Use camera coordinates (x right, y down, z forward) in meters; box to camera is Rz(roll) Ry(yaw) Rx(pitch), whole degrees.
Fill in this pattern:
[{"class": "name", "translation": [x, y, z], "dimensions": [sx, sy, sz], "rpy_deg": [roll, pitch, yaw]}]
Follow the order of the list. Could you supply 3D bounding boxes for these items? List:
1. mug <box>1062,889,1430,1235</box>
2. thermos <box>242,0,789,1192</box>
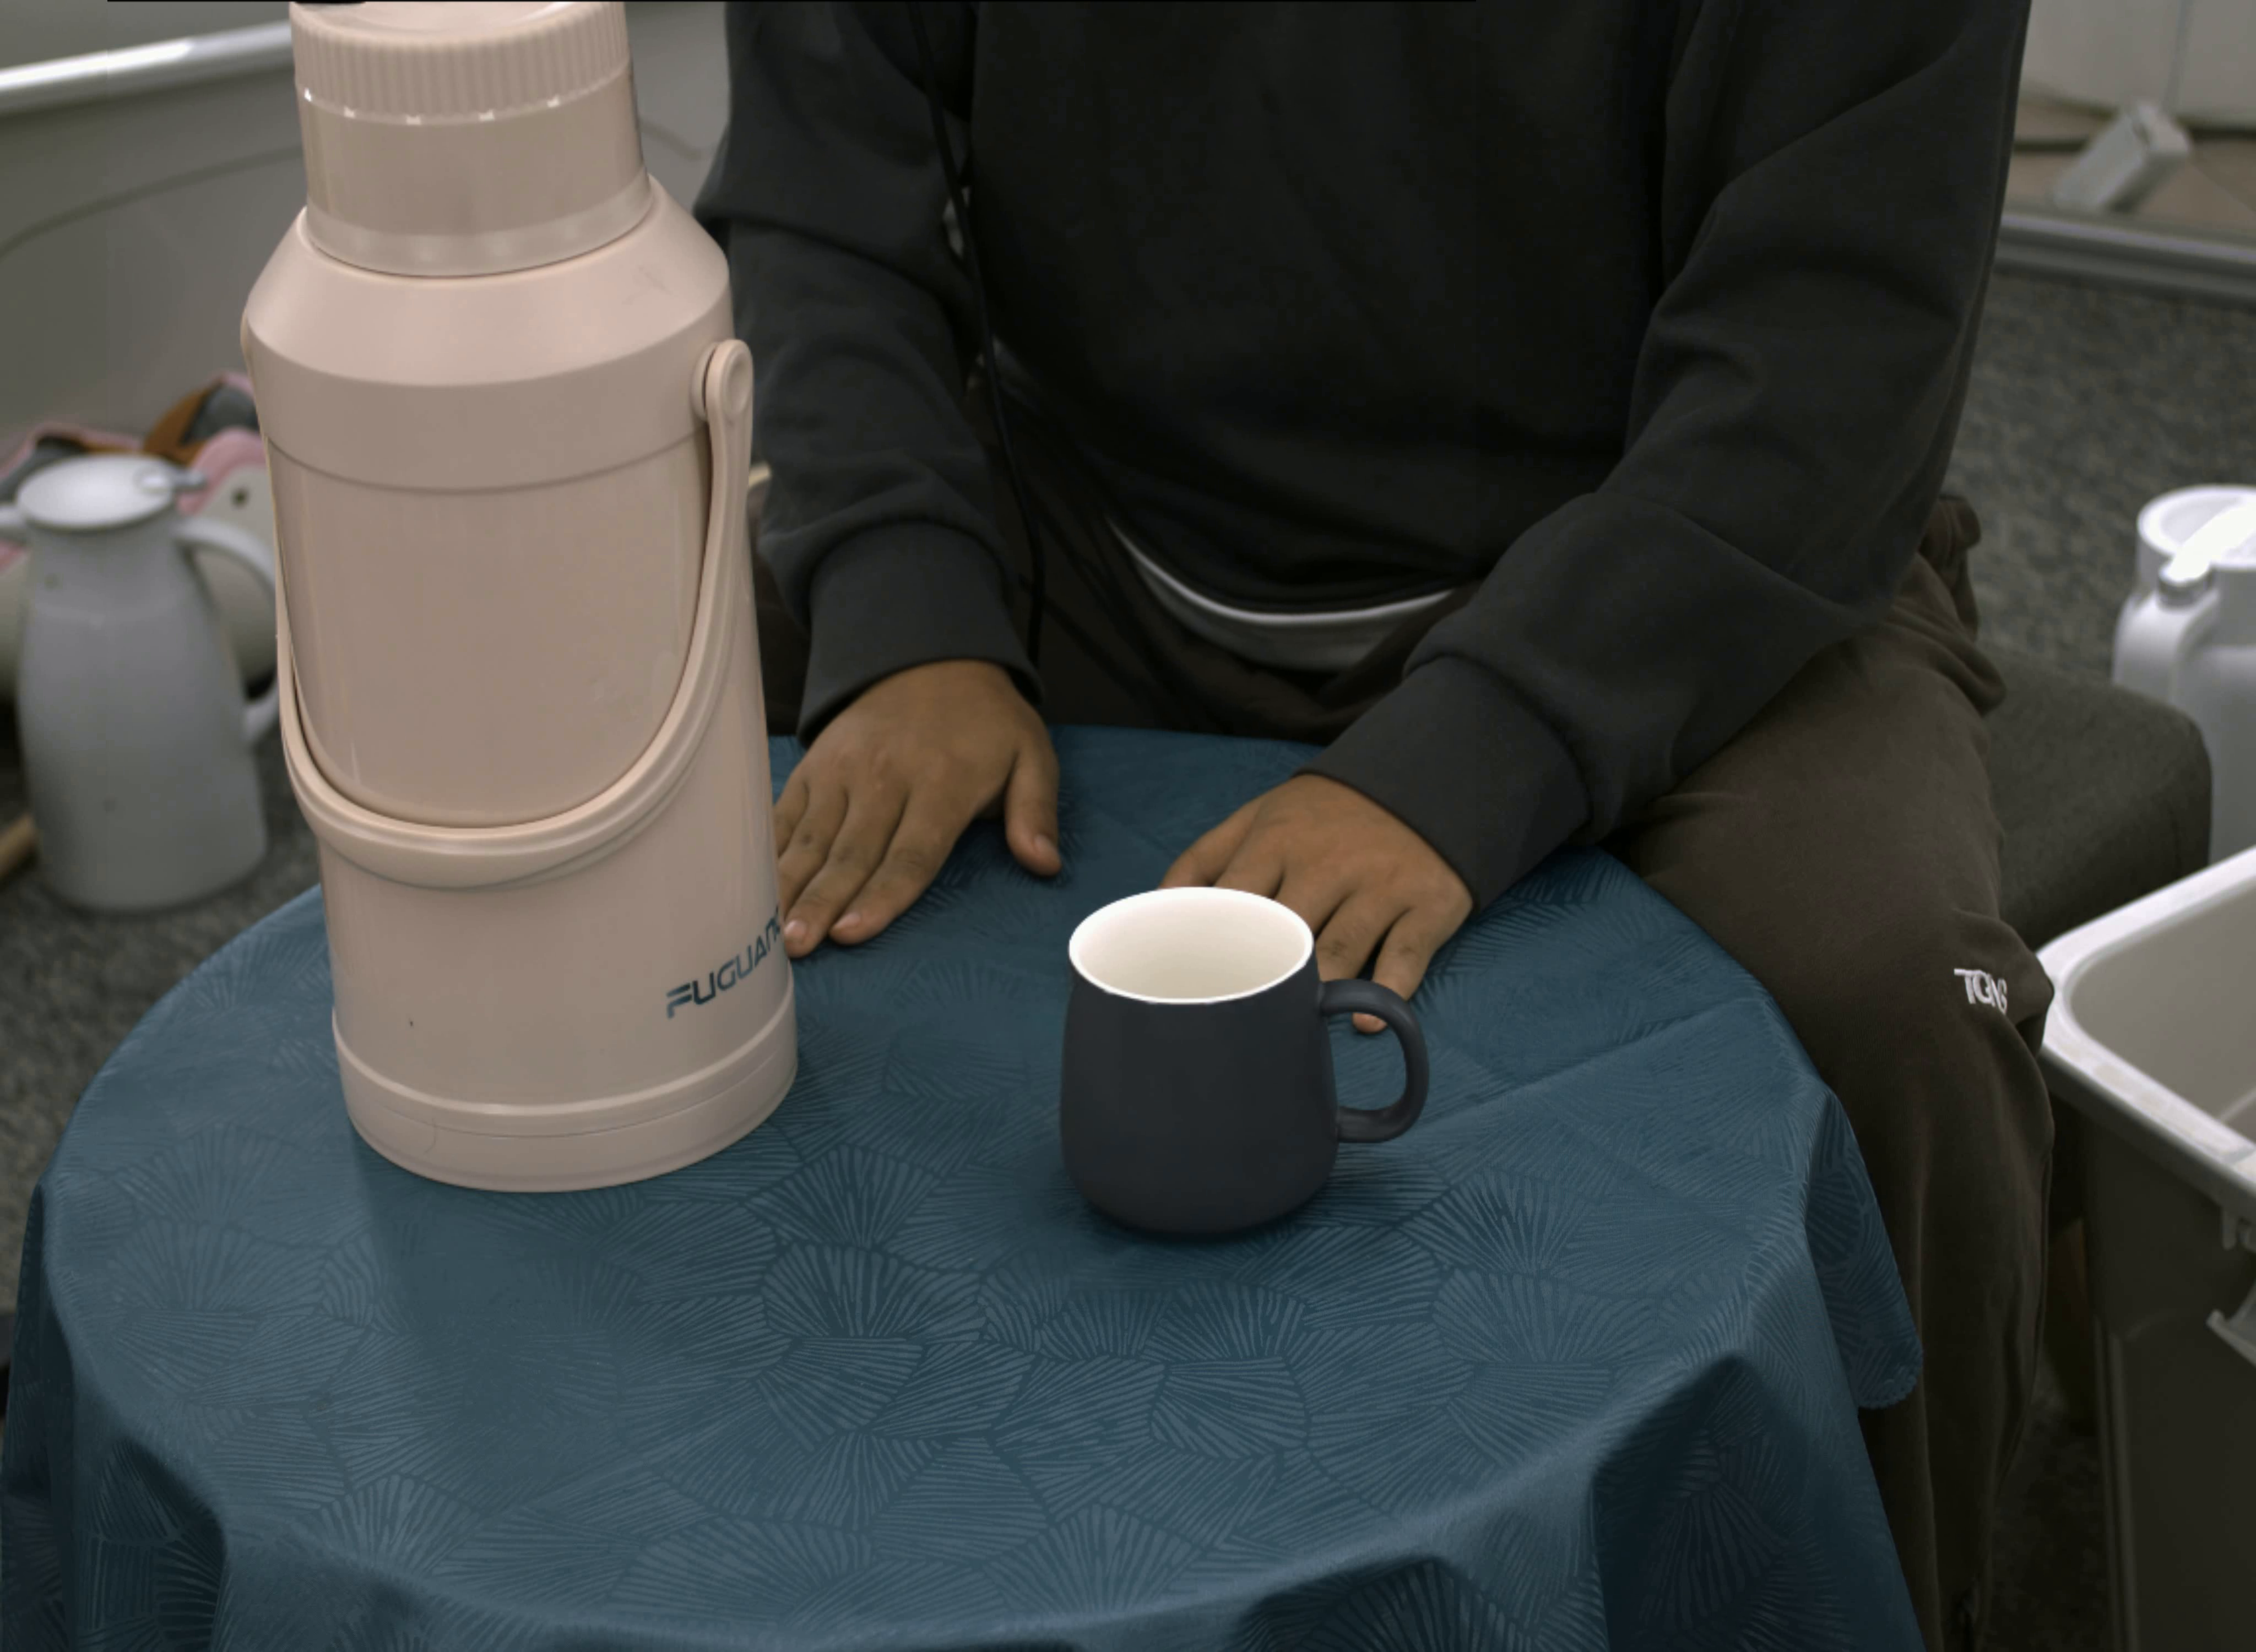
[{"class": "mug", "translation": [0.038, 0.078, 1.848], "dimensions": [0.122, 0.089, 0.095], "rpy_deg": [1, 27, 8]}, {"class": "thermos", "translation": [-0.196, -0.095, 1.874], "dimensions": [0.174, 0.402, 0.210], "rpy_deg": [7, 28, 20]}]
